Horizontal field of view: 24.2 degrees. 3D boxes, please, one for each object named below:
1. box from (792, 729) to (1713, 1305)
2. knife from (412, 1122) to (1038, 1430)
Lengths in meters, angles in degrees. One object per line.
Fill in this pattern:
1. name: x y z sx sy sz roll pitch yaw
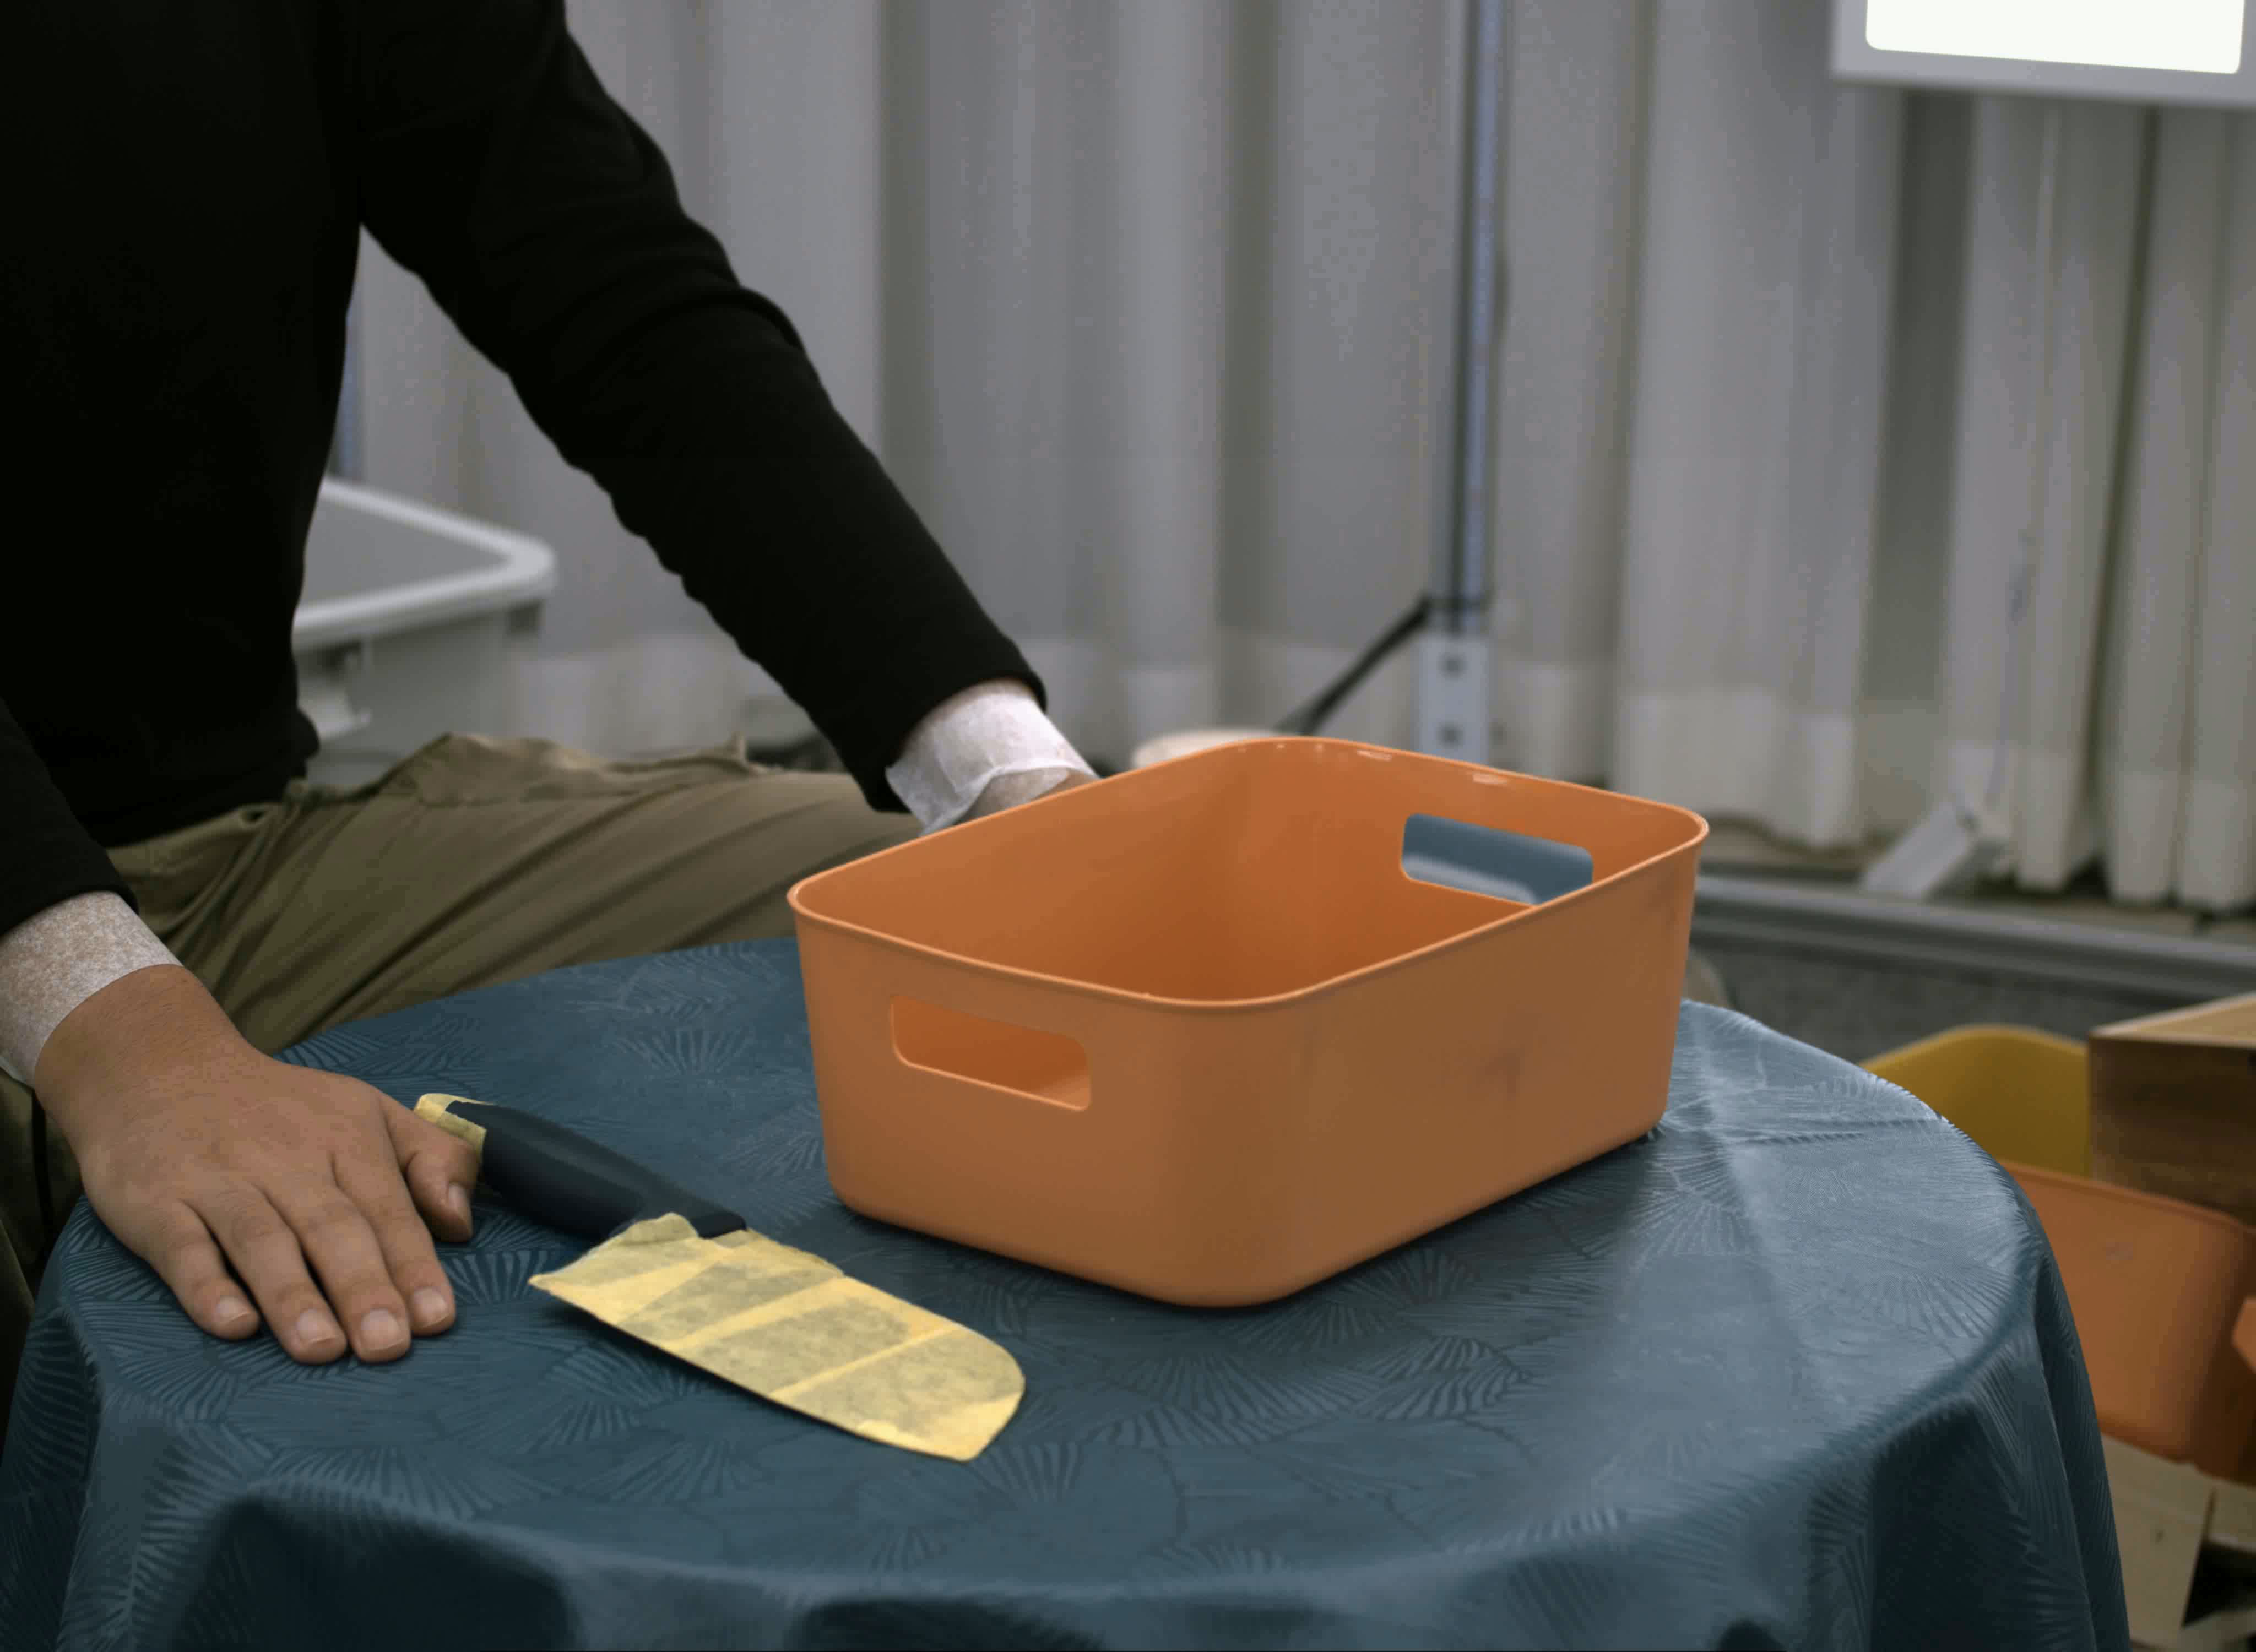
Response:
1. box: 0.039 0.055 1.632 0.197 0.103 0.274 13 20 36
2. knife: -0.128 0.131 1.524 0.081 0.027 0.285 -10 19 -41
